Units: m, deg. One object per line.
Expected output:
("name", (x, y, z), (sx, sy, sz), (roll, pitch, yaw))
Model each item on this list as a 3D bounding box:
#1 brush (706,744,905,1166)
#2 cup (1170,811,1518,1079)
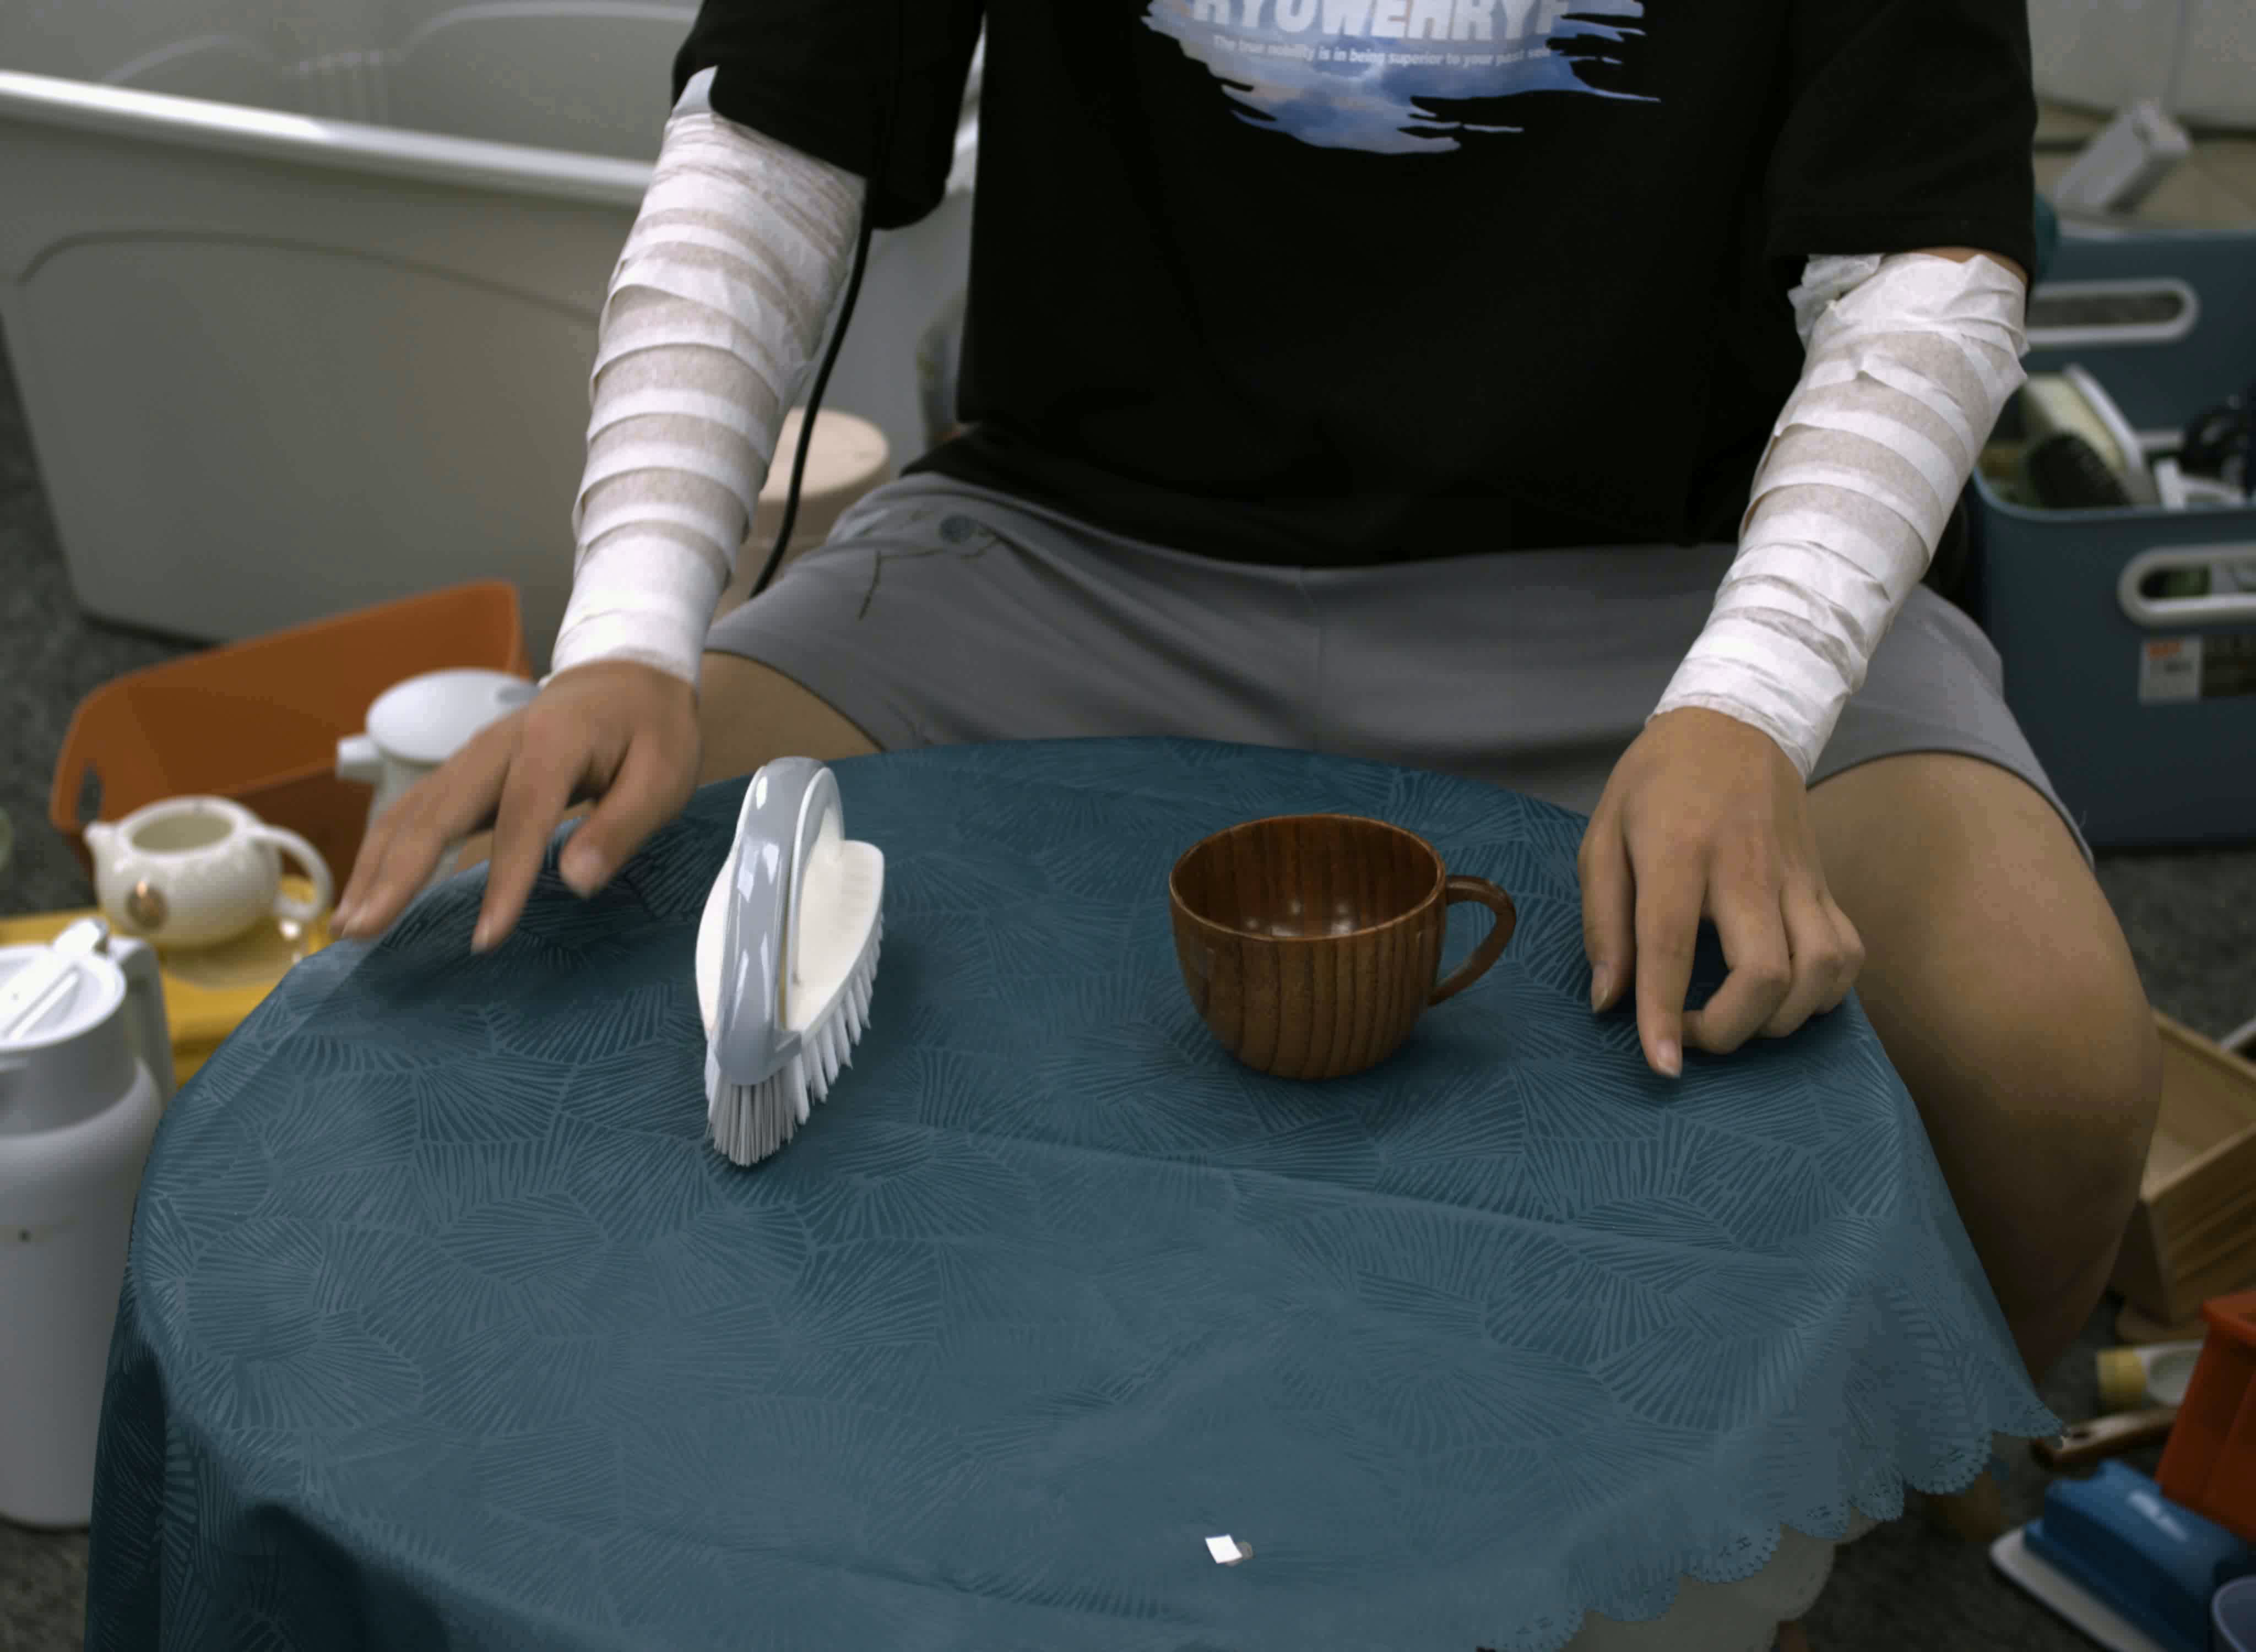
("brush", (-0.119, 0.036, 1.941), (0.061, 0.093, 0.178), (-3, 29, 9))
("cup", (0.075, 0.044, 1.933), (0.119, 0.067, 0.097), (-2, 25, 0))
